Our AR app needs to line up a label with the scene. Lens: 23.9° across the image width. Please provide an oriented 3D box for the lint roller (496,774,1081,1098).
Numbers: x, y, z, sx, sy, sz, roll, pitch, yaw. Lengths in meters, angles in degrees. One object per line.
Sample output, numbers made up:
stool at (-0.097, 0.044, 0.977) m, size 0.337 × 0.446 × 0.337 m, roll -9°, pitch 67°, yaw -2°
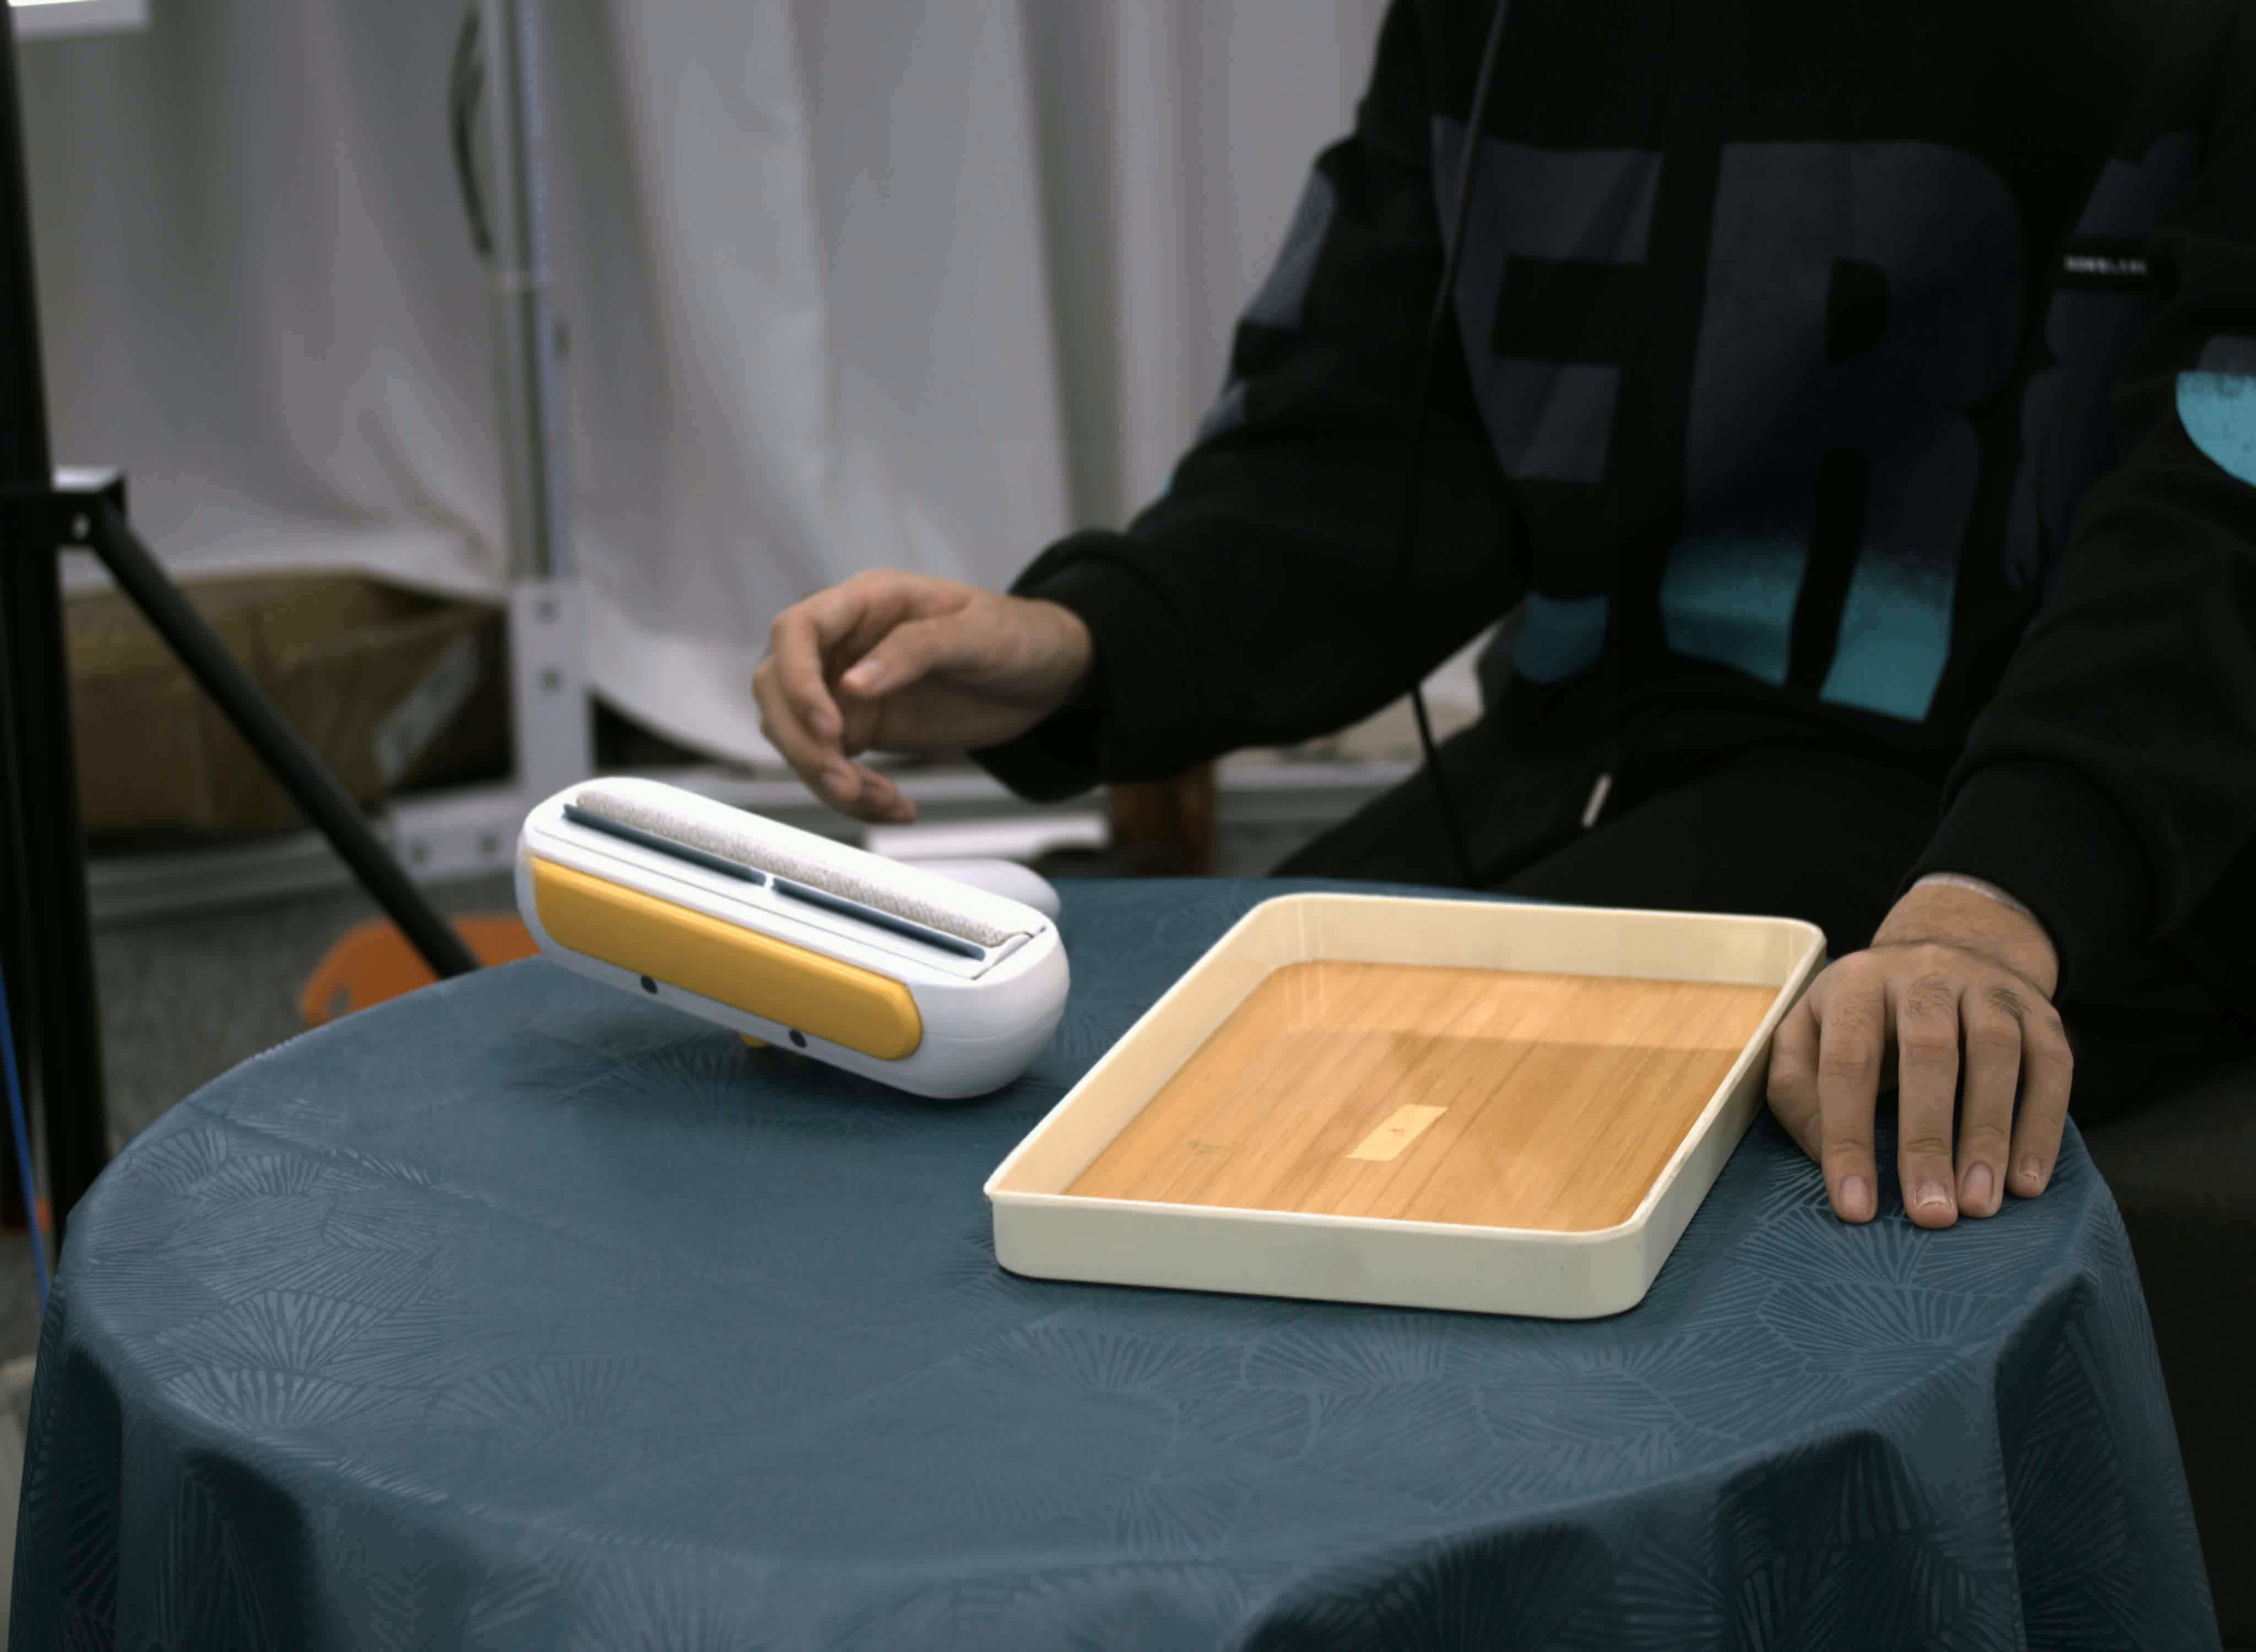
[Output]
lint roller at (-0.081, 0.027, 1.734) m, size 0.197 × 0.074 × 0.188 m, roll 15°, pitch 21°, yaw 33°

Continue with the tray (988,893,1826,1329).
tray at (0.092, 0.080, 1.592) m, size 0.193 × 0.027 × 0.297 m, roll 3°, pitch 17°, yaw 19°
